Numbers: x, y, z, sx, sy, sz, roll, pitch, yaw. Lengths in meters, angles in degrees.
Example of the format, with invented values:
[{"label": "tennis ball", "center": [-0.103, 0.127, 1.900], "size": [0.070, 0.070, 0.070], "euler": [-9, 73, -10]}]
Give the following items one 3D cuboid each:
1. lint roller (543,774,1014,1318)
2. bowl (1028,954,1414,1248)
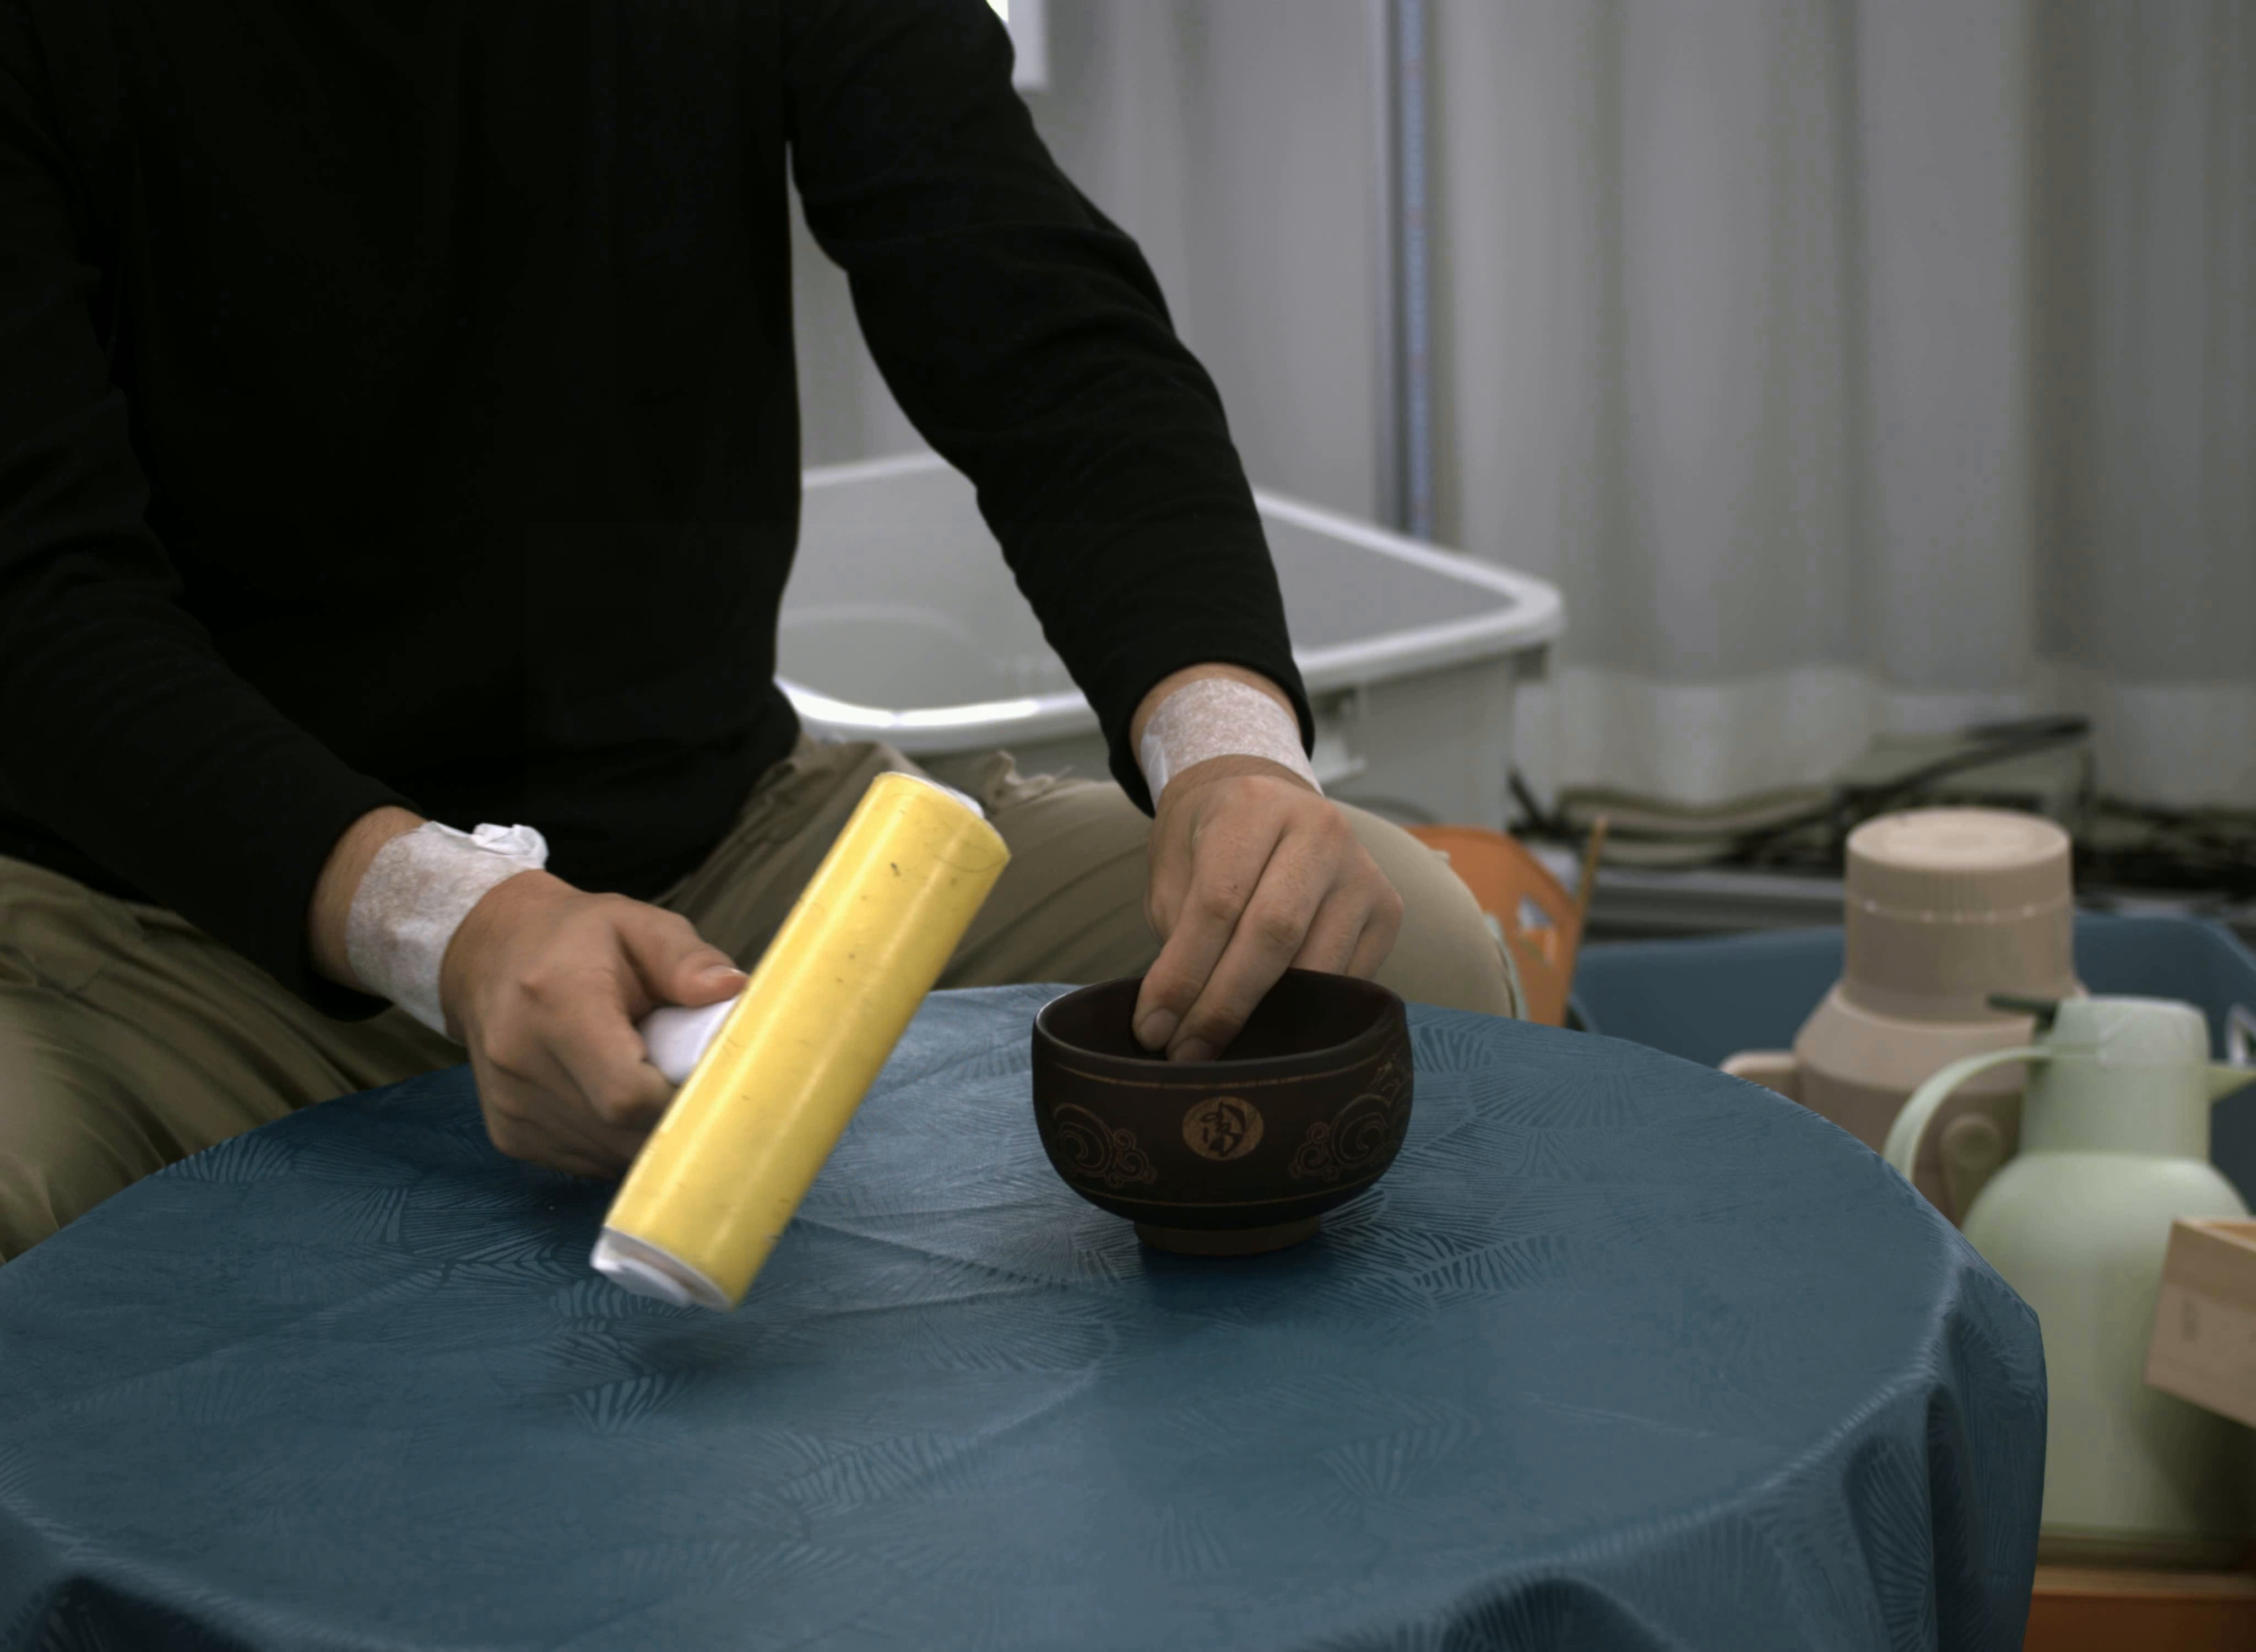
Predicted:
[{"label": "lint roller", "center": [-0.135, 0.062, 1.656], "size": [0.193, 0.051, 0.175], "euler": [3, 57, 52]}, {"label": "bowl", "center": [0.028, 0.087, 1.664], "size": [0.117, 0.069, 0.119], "euler": [-1, 13, 0]}]
